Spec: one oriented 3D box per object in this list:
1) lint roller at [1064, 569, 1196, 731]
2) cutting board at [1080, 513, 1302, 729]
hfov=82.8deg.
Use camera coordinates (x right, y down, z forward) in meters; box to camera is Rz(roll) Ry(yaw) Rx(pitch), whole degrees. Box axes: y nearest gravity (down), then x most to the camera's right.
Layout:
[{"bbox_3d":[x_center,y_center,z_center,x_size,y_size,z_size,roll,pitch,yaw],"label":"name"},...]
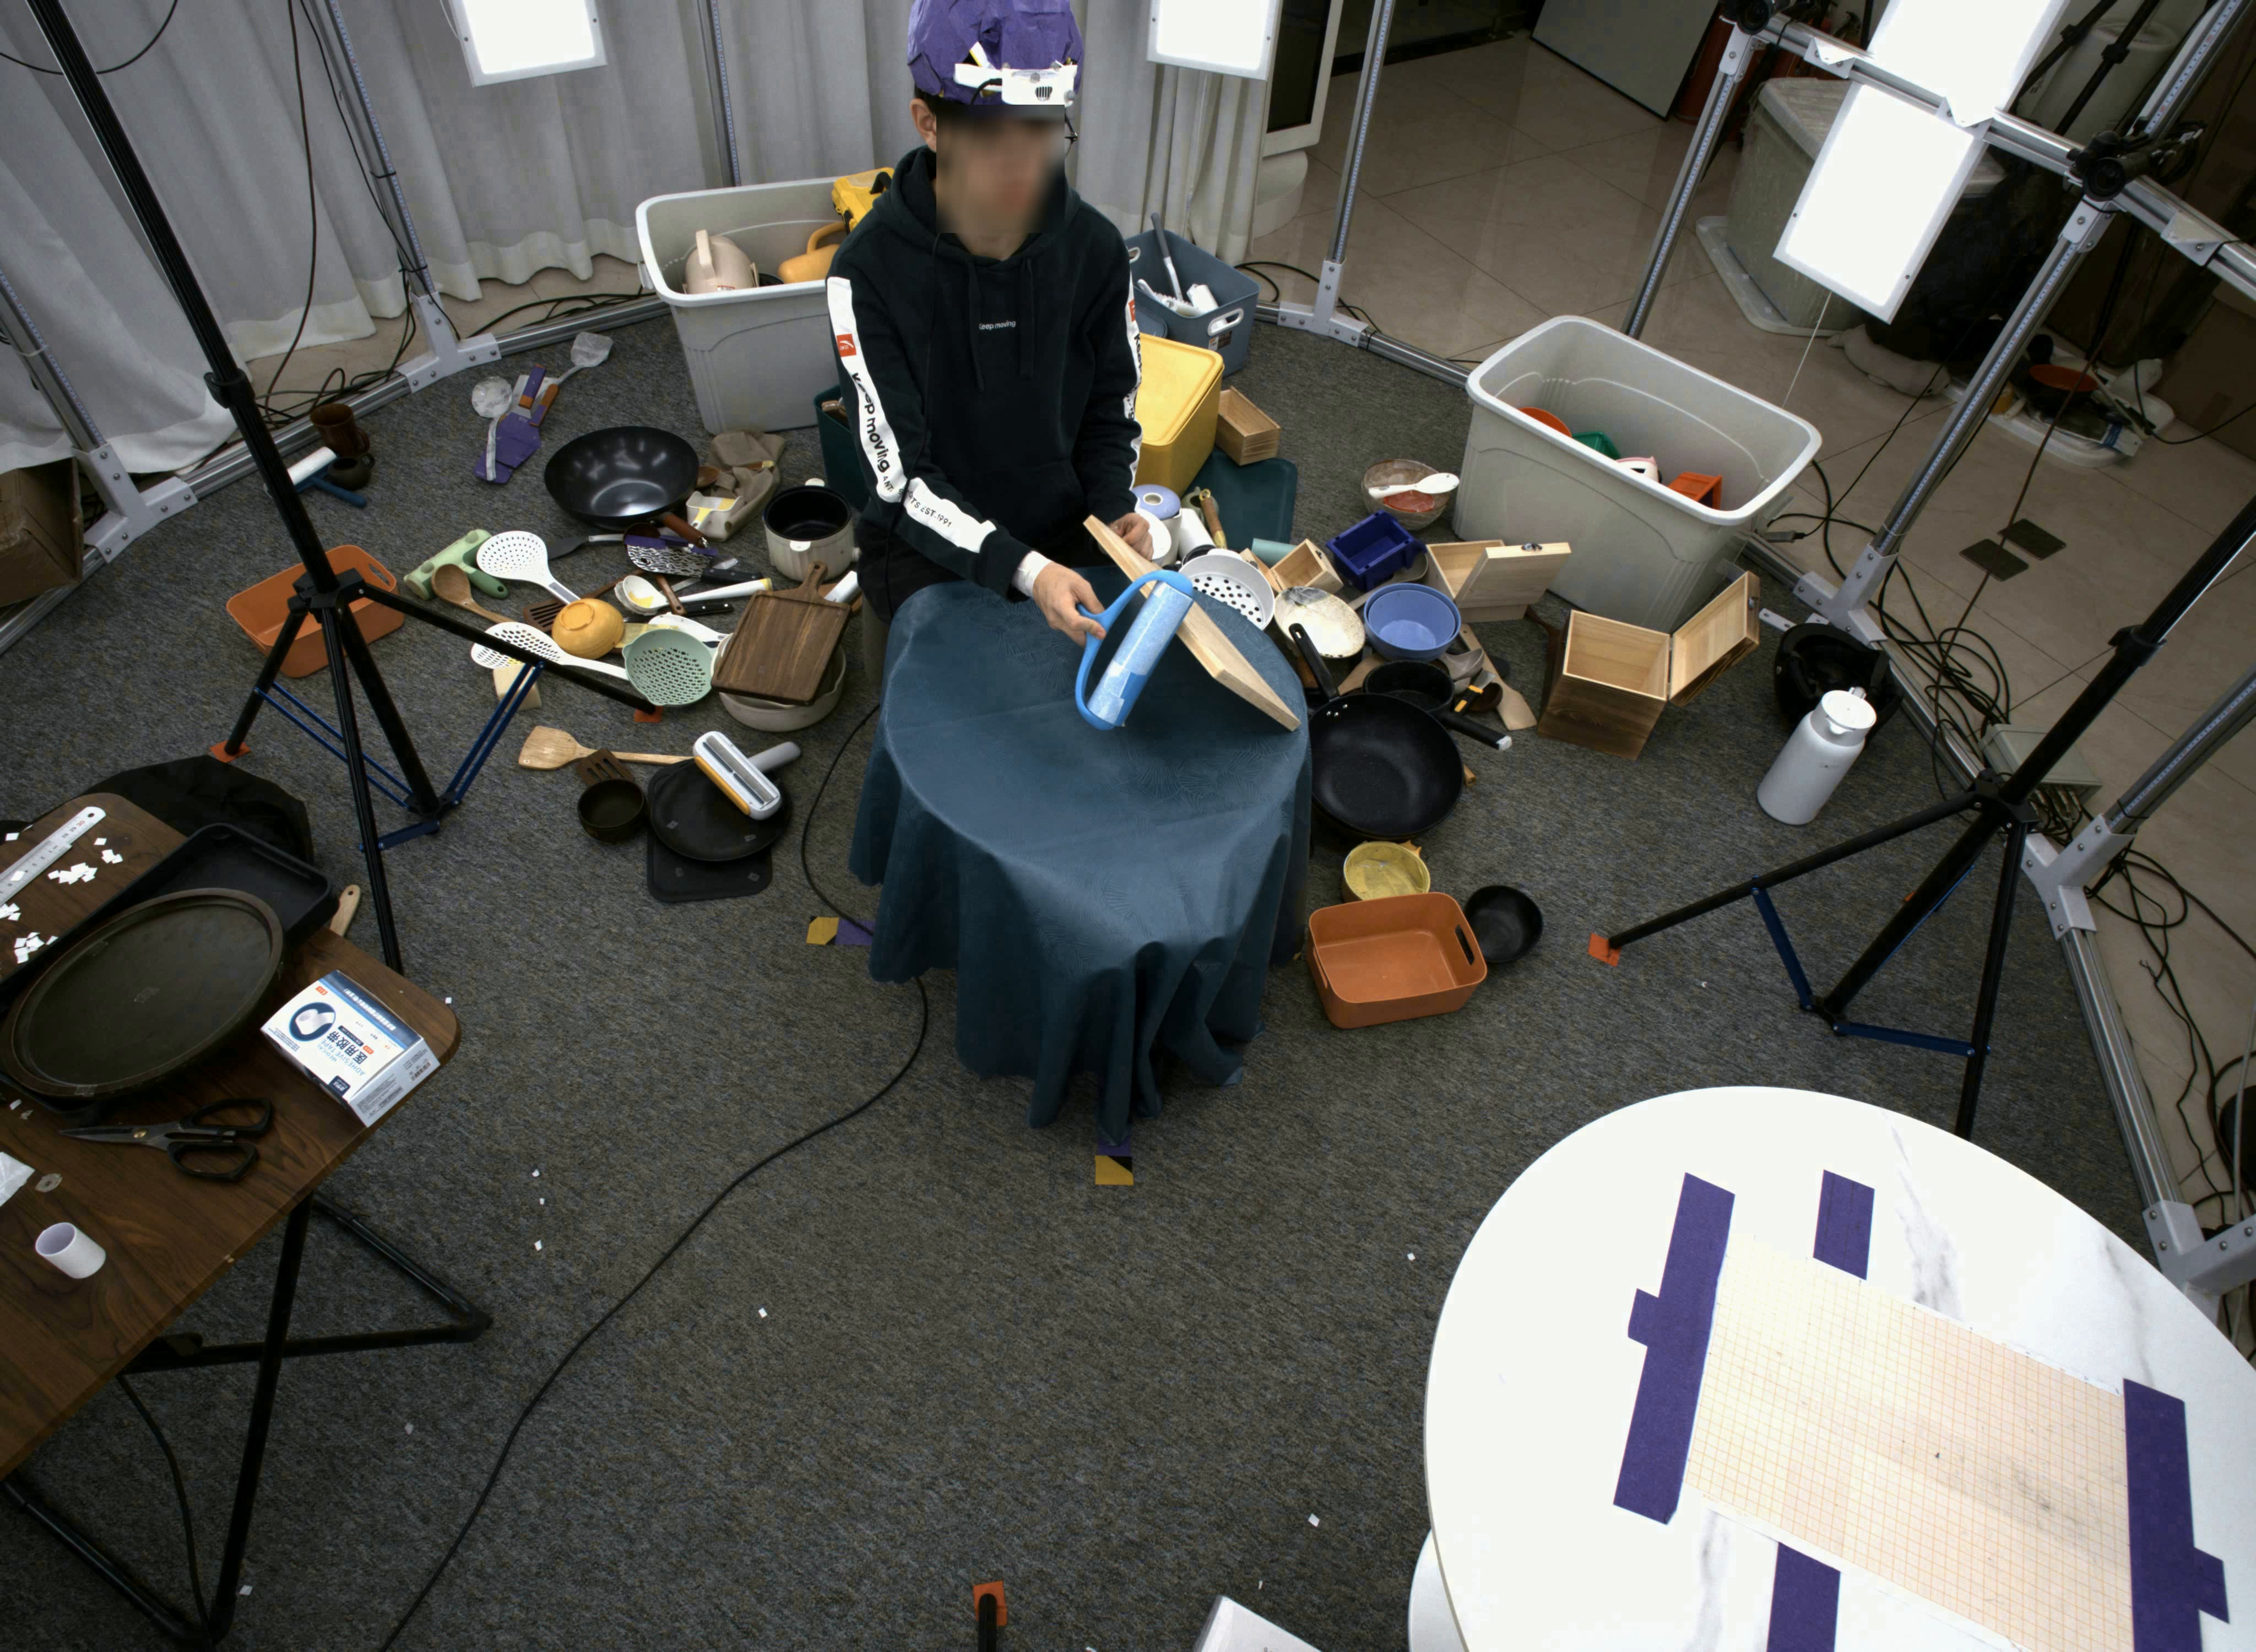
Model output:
[{"bbox_3d":[-0.029,-0.255,1.677,0.182,0.227,0.067,35,15,25],"label":"lint roller"},{"bbox_3d":[0.087,-0.285,1.795,0.023,0.247,0.356,-45,58,15],"label":"cutting board"}]
